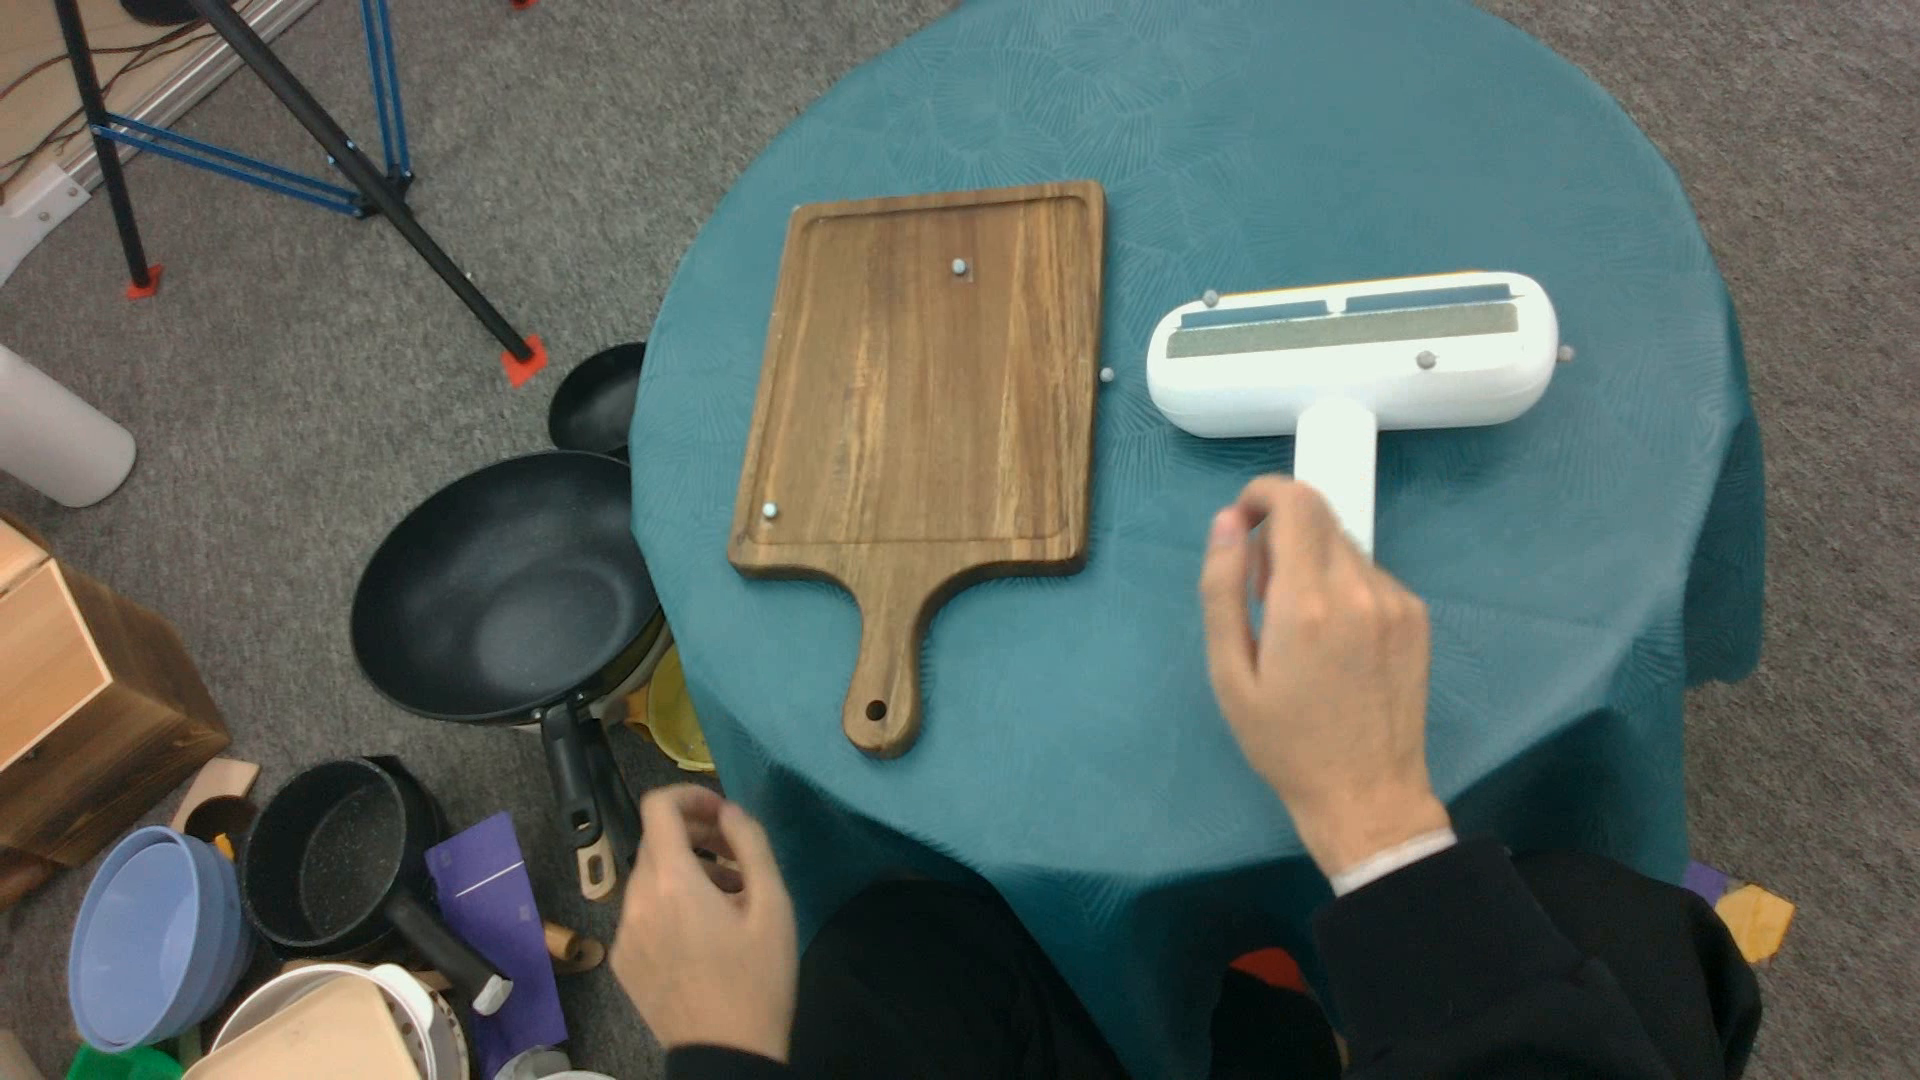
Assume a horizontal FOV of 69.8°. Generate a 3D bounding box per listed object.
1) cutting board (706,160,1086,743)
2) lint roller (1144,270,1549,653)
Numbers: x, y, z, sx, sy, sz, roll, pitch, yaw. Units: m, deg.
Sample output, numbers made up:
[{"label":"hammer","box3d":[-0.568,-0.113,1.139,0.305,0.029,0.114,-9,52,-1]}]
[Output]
[{"label":"cutting board","box3d":[-0.035,-0.060,0.751,0.201,0.023,0.353,-2,63,13]},{"label":"lint roller","box3d":[0.174,-0.042,0.663,0.192,0.074,0.193,5,66,23]}]
